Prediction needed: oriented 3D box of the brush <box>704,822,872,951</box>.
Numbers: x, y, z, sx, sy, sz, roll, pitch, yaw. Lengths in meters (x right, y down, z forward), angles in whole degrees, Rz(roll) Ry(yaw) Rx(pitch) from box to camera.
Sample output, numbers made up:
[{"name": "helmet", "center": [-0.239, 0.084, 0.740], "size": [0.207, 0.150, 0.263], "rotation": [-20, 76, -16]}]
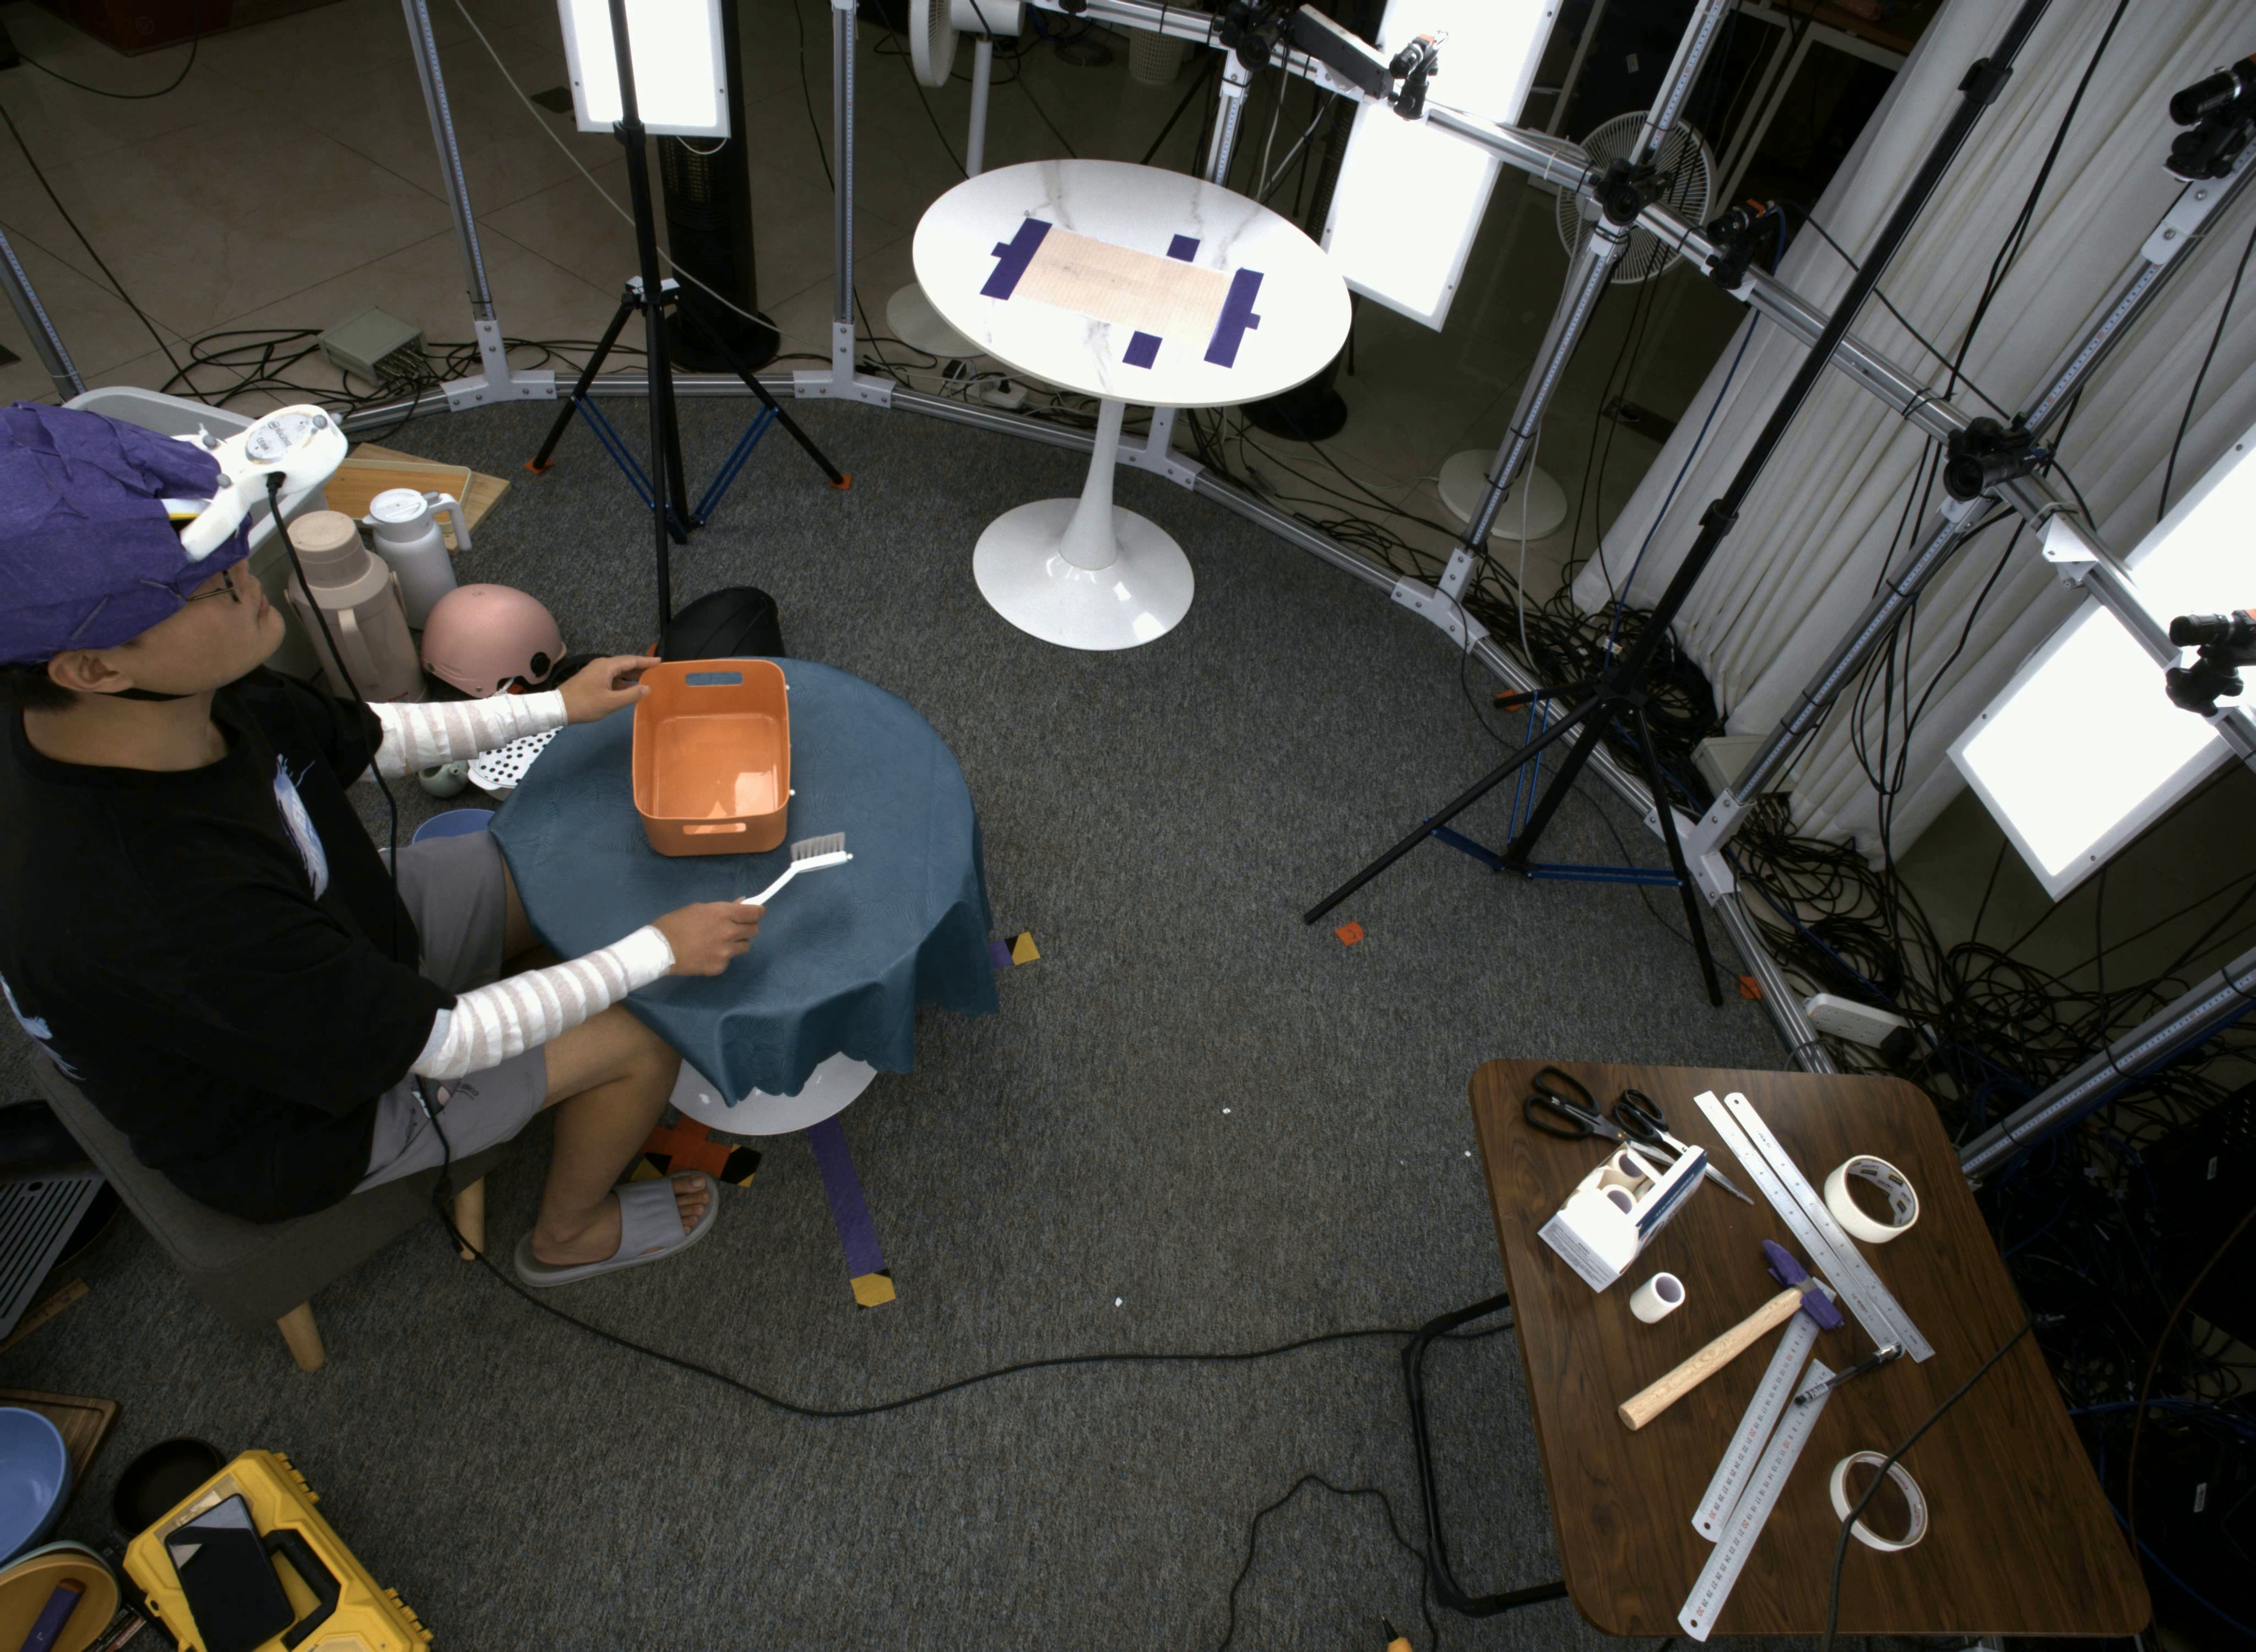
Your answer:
[{"name": "brush", "center": [-0.420, 0.066, 1.585], "size": [0.243, 0.034, 0.050], "rotation": [-33, 83, -17]}]

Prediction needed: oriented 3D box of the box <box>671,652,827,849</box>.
[{"name": "box", "center": [-0.500, -0.097, 1.718], "size": [0.200, 0.104, 0.267], "rotation": [-1, 54, -15]}]
